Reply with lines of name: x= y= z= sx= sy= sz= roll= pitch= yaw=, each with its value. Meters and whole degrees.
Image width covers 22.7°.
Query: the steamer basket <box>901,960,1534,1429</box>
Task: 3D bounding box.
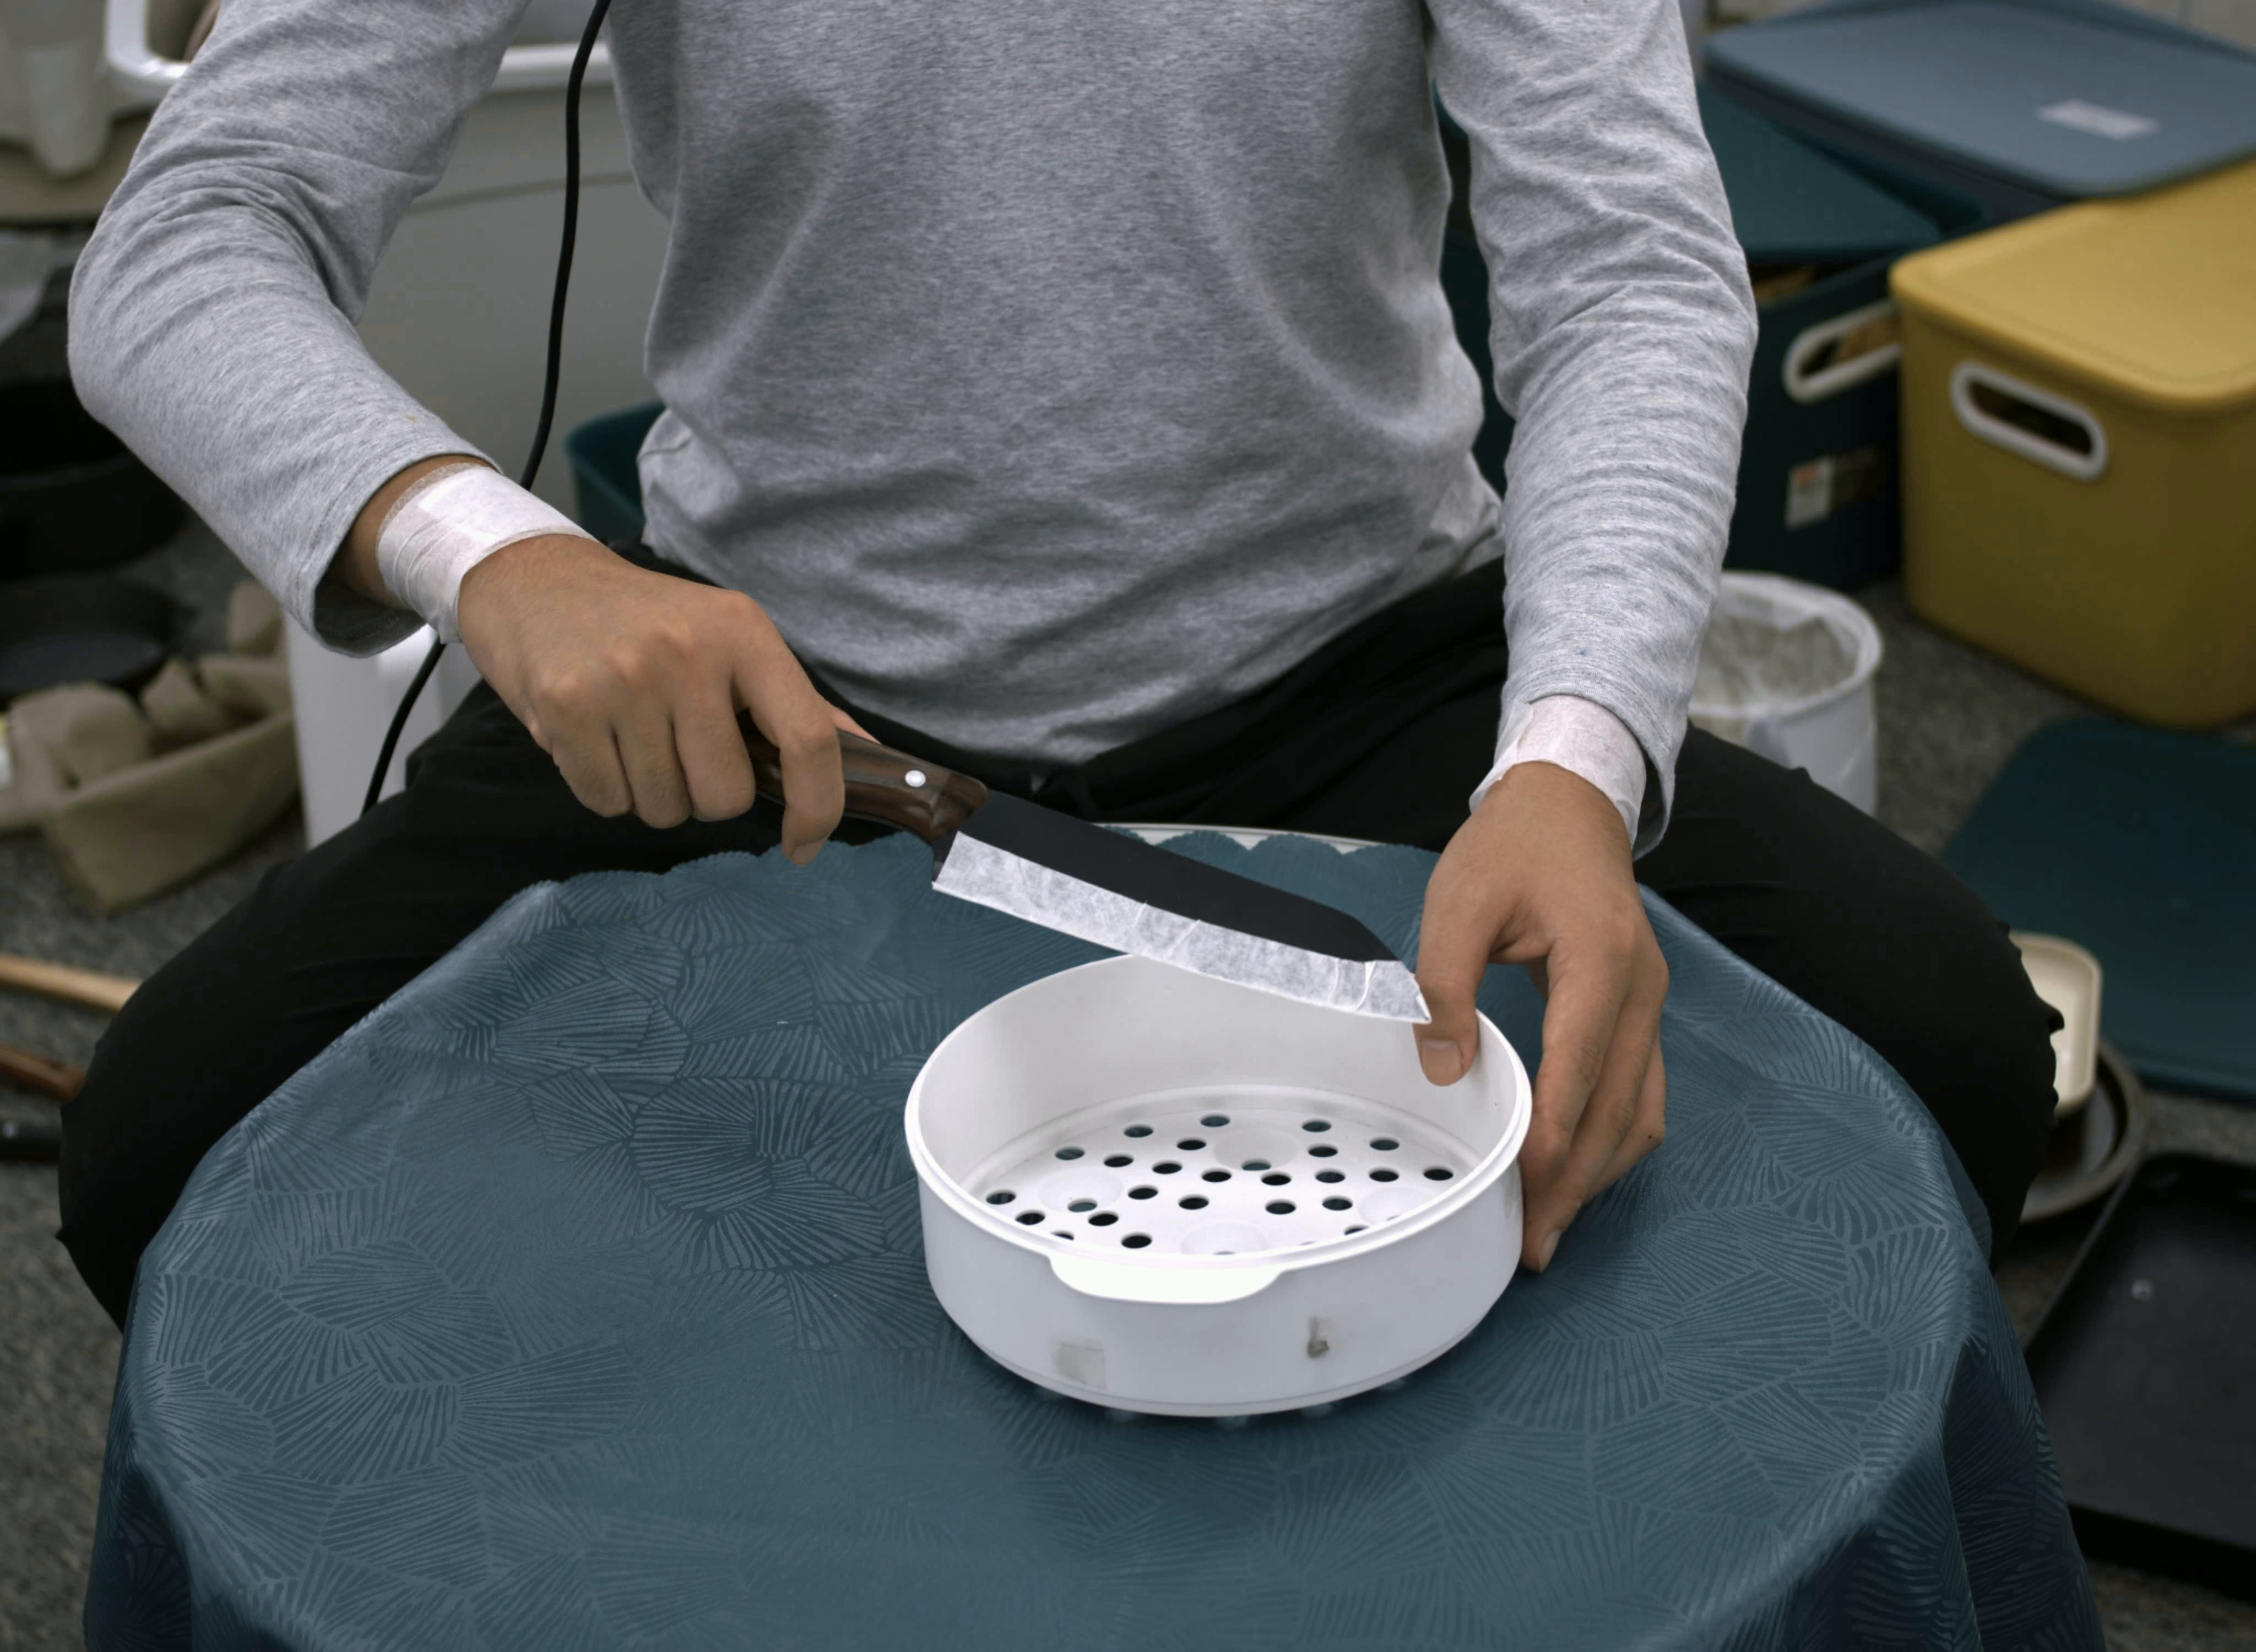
steamer basket: x=0.029 y=0.117 z=1.796 sx=0.200 sy=0.068 sz=0.234 roll=3 pitch=27 yaw=11

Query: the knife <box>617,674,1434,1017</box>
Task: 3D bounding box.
knife: x=-0.035 y=0.008 z=1.825 sx=0.288 sy=0.019 sz=0.051 roll=20 pitch=56 yaw=6
